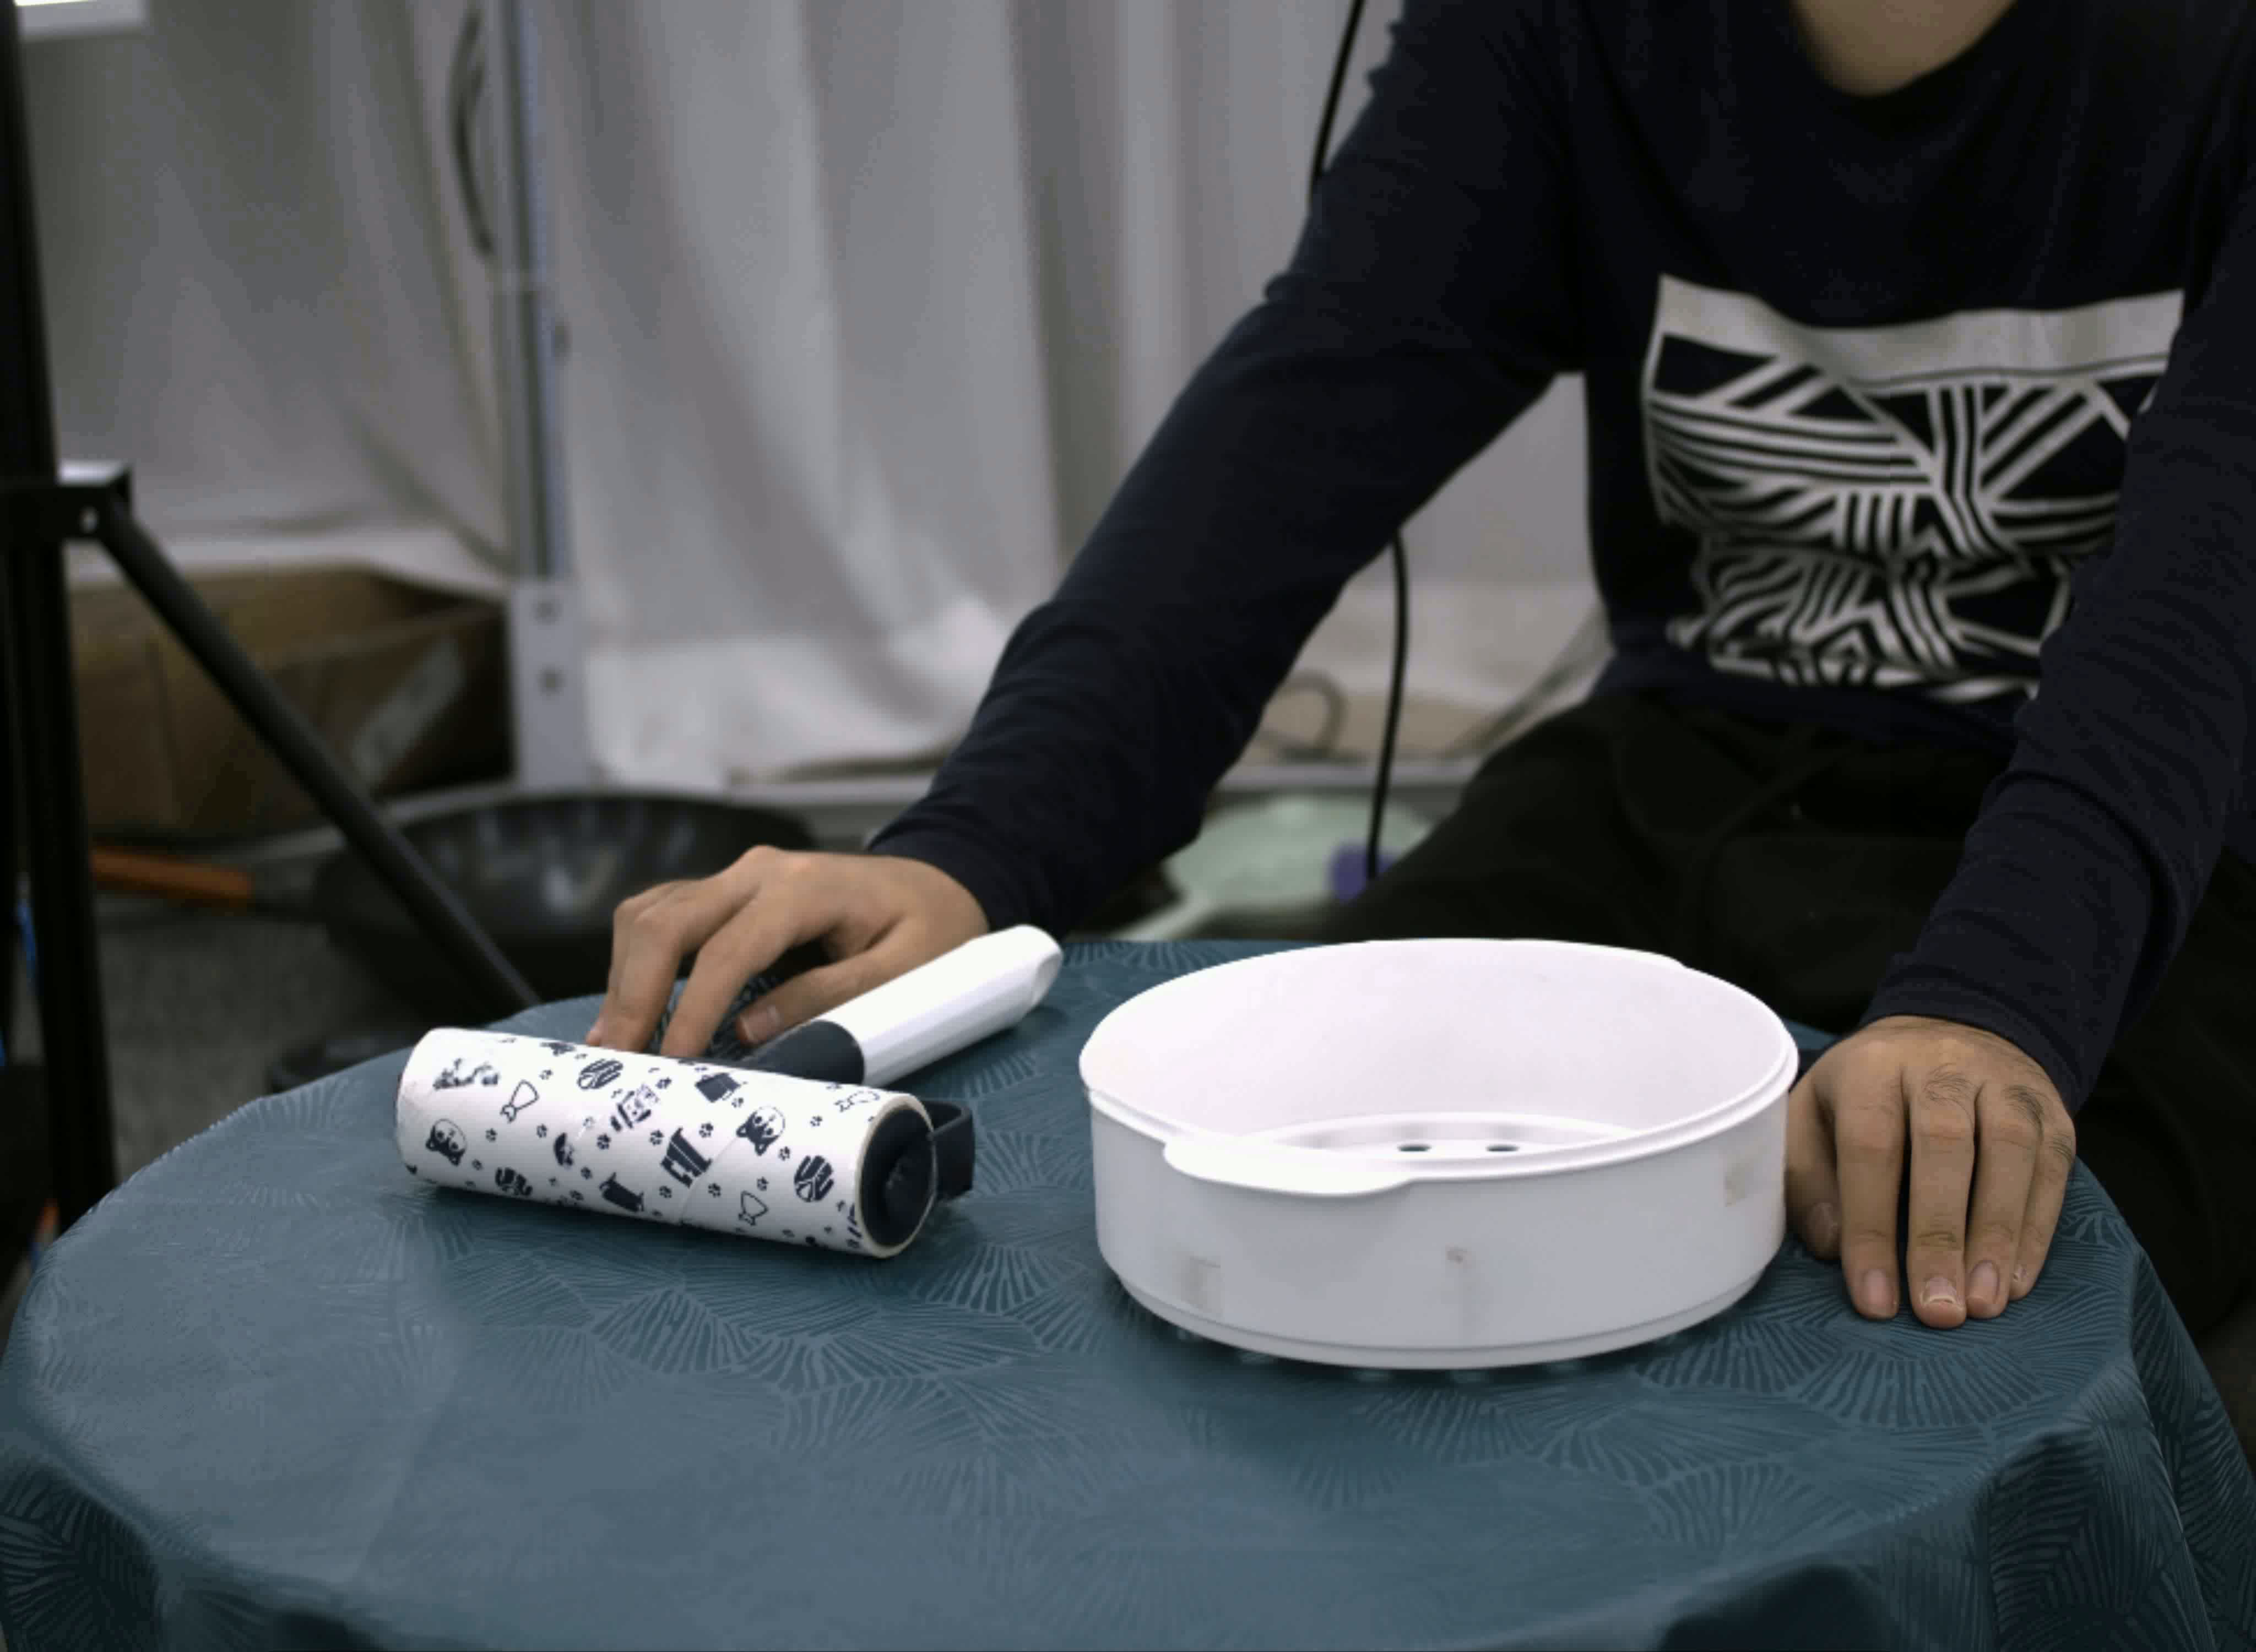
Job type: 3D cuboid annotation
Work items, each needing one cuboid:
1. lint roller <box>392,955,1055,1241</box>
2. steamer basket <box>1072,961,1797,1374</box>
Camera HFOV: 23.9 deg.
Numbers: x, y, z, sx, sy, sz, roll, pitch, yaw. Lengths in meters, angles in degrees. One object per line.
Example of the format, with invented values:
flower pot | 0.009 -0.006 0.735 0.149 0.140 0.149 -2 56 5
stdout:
lint roller | -0.089 0.069 1.641 0.179 0.050 0.242 5 15 28
steamer basket | 0.085 0.095 1.478 0.205 0.069 0.226 7 15 28
